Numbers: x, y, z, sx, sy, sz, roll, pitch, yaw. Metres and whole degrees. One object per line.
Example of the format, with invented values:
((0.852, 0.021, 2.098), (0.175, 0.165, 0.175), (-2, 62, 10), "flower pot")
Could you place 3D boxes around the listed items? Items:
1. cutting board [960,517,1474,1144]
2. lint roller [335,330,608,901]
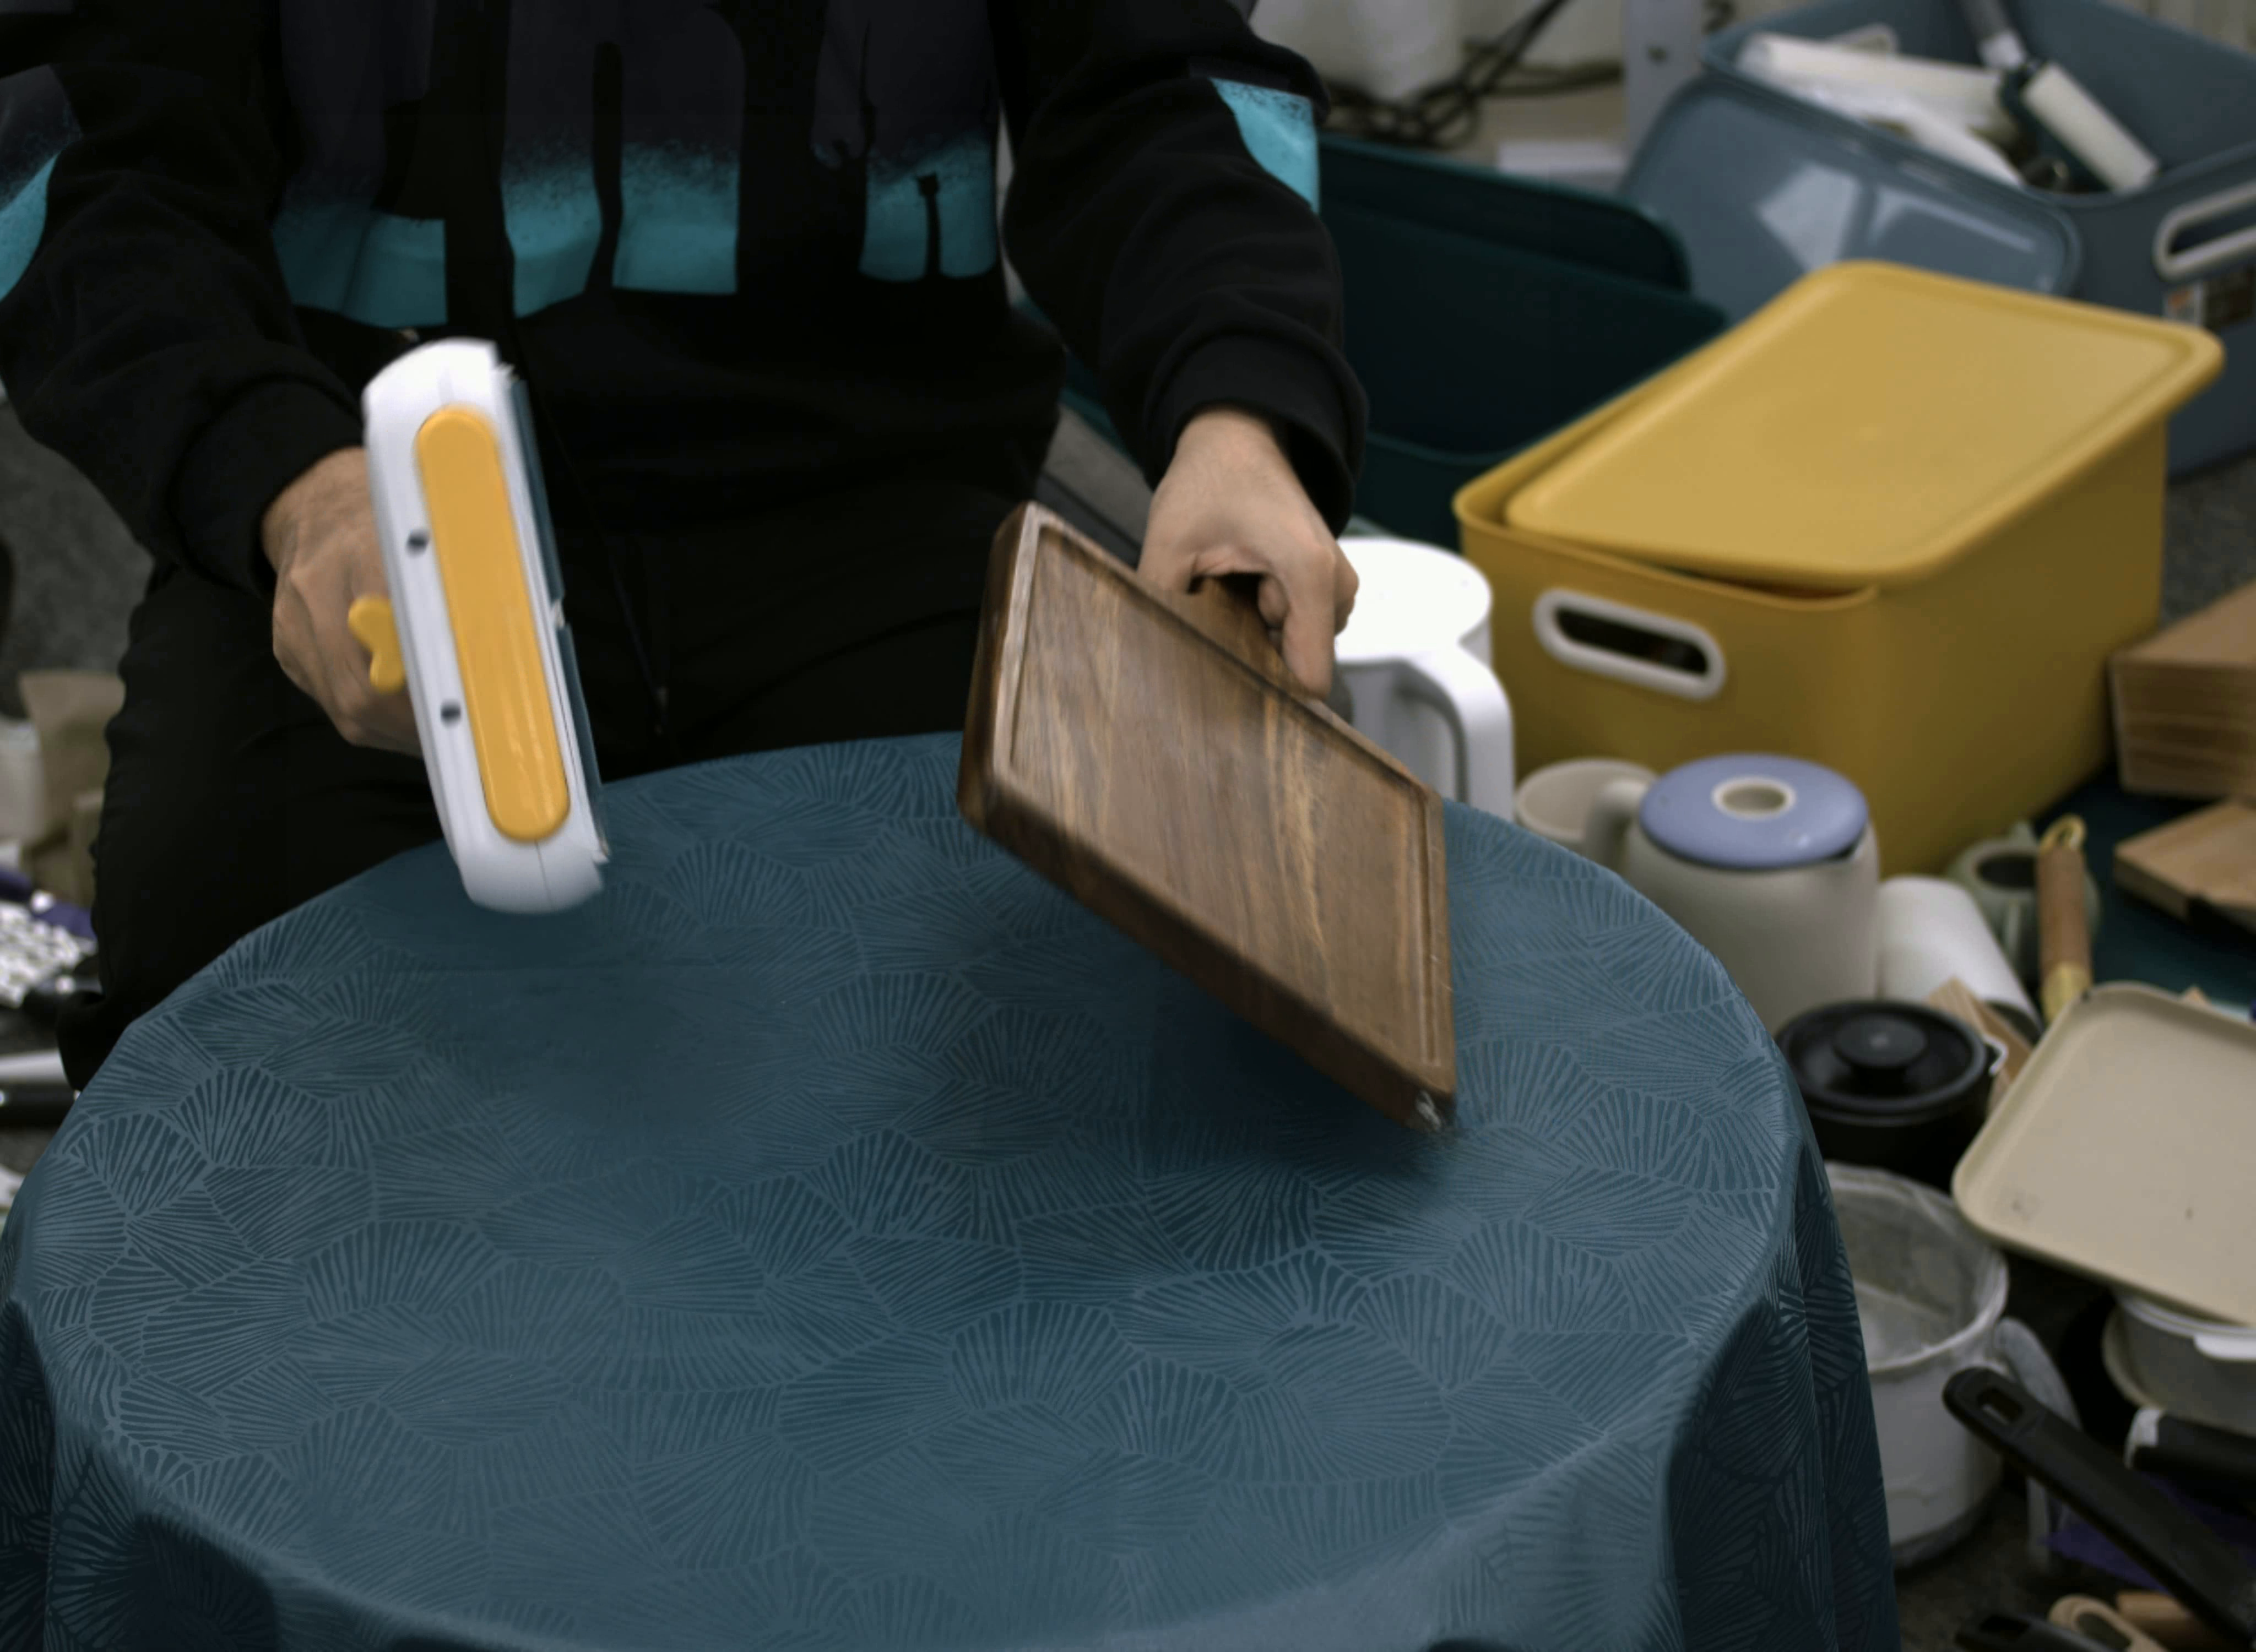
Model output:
((0.032, -0.024, 1.984), (0.200, 0.023, 0.357), (33, 21, -13), "cutting board")
((-0.233, -0.063, 1.928), (0.074, 0.193, 0.191), (-18, -1, -11), "lint roller")
